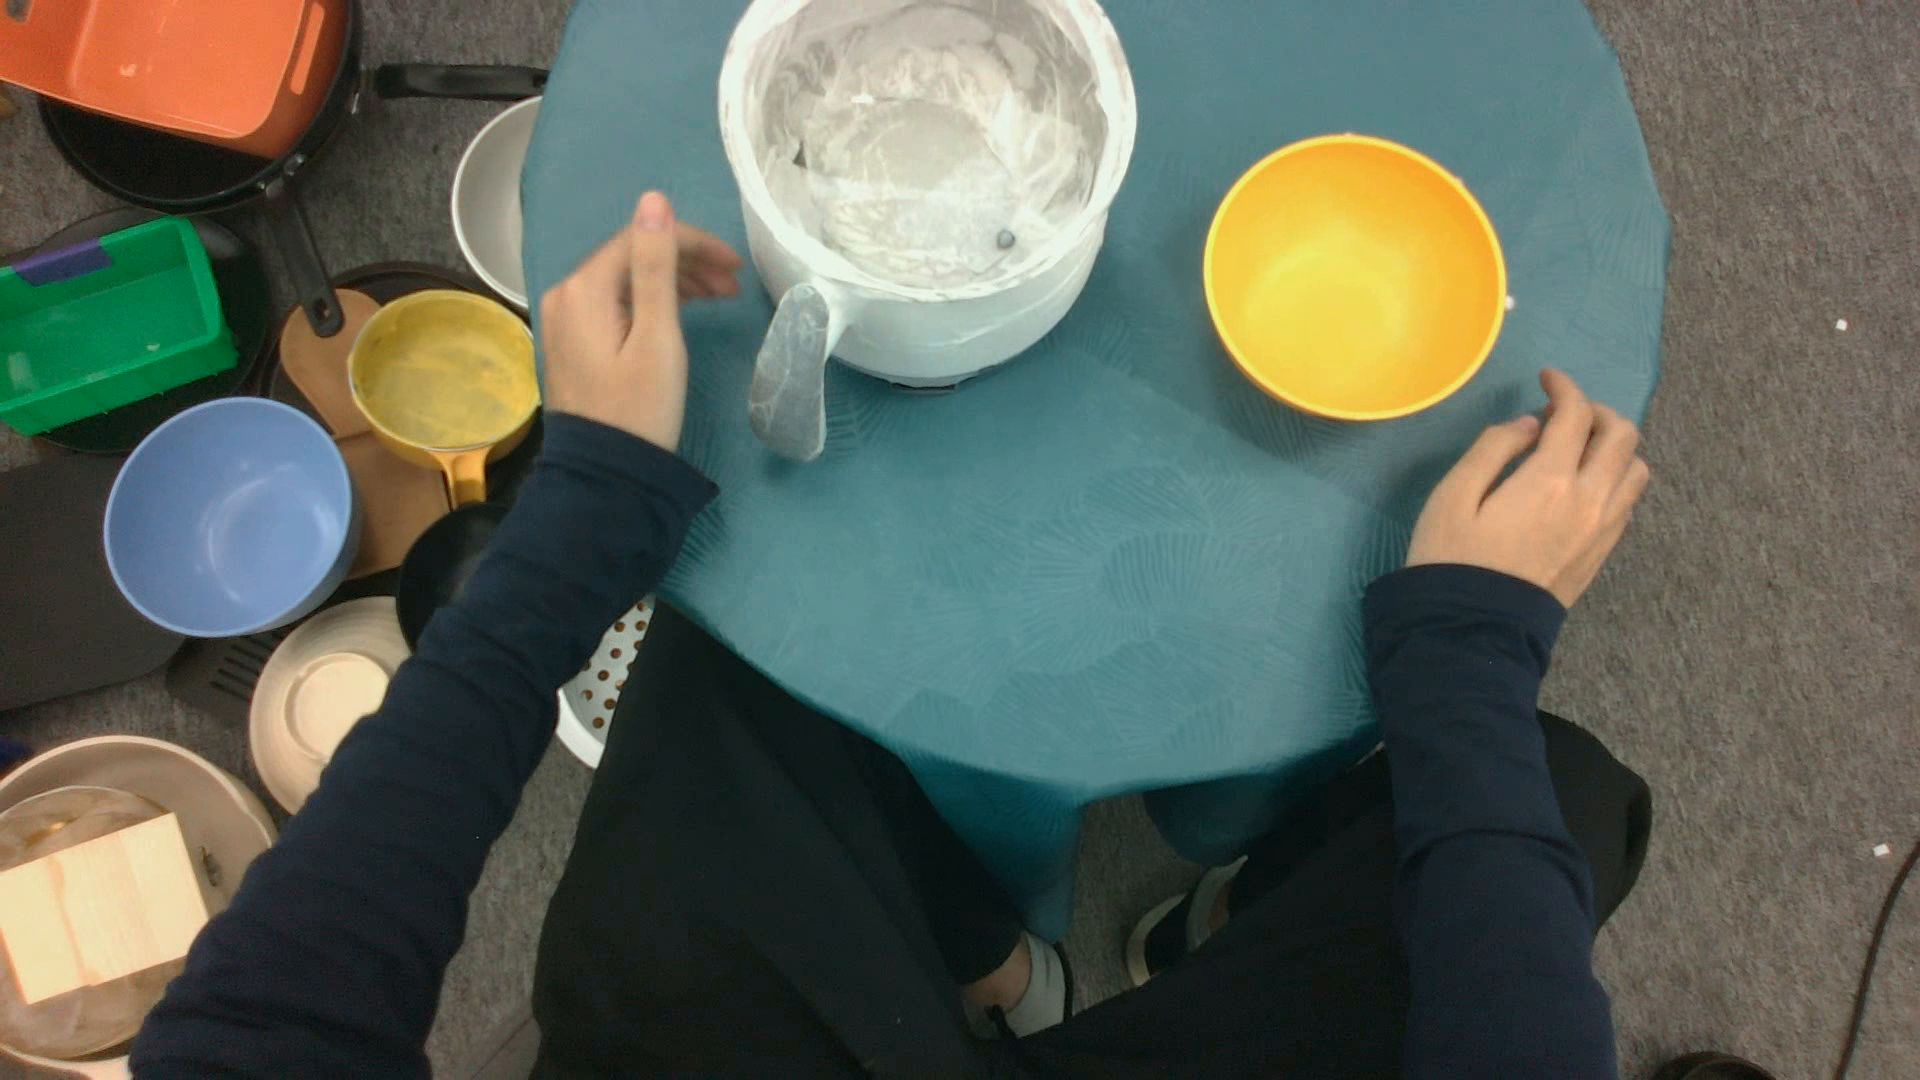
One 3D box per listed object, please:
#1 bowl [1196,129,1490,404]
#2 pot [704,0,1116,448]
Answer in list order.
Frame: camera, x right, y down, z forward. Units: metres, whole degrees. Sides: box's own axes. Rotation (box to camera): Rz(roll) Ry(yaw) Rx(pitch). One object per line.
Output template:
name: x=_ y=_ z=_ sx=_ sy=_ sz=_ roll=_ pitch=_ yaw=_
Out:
bowl: x=0.181 y=-0.126 z=0.684 sx=0.145 sy=0.060 sz=0.145 roll=2 pitch=74 yaw=-6
pot: x=-0.037 y=-0.154 z=0.645 sx=0.179 sy=0.136 sz=0.234 roll=28 pitch=79 yaw=2
